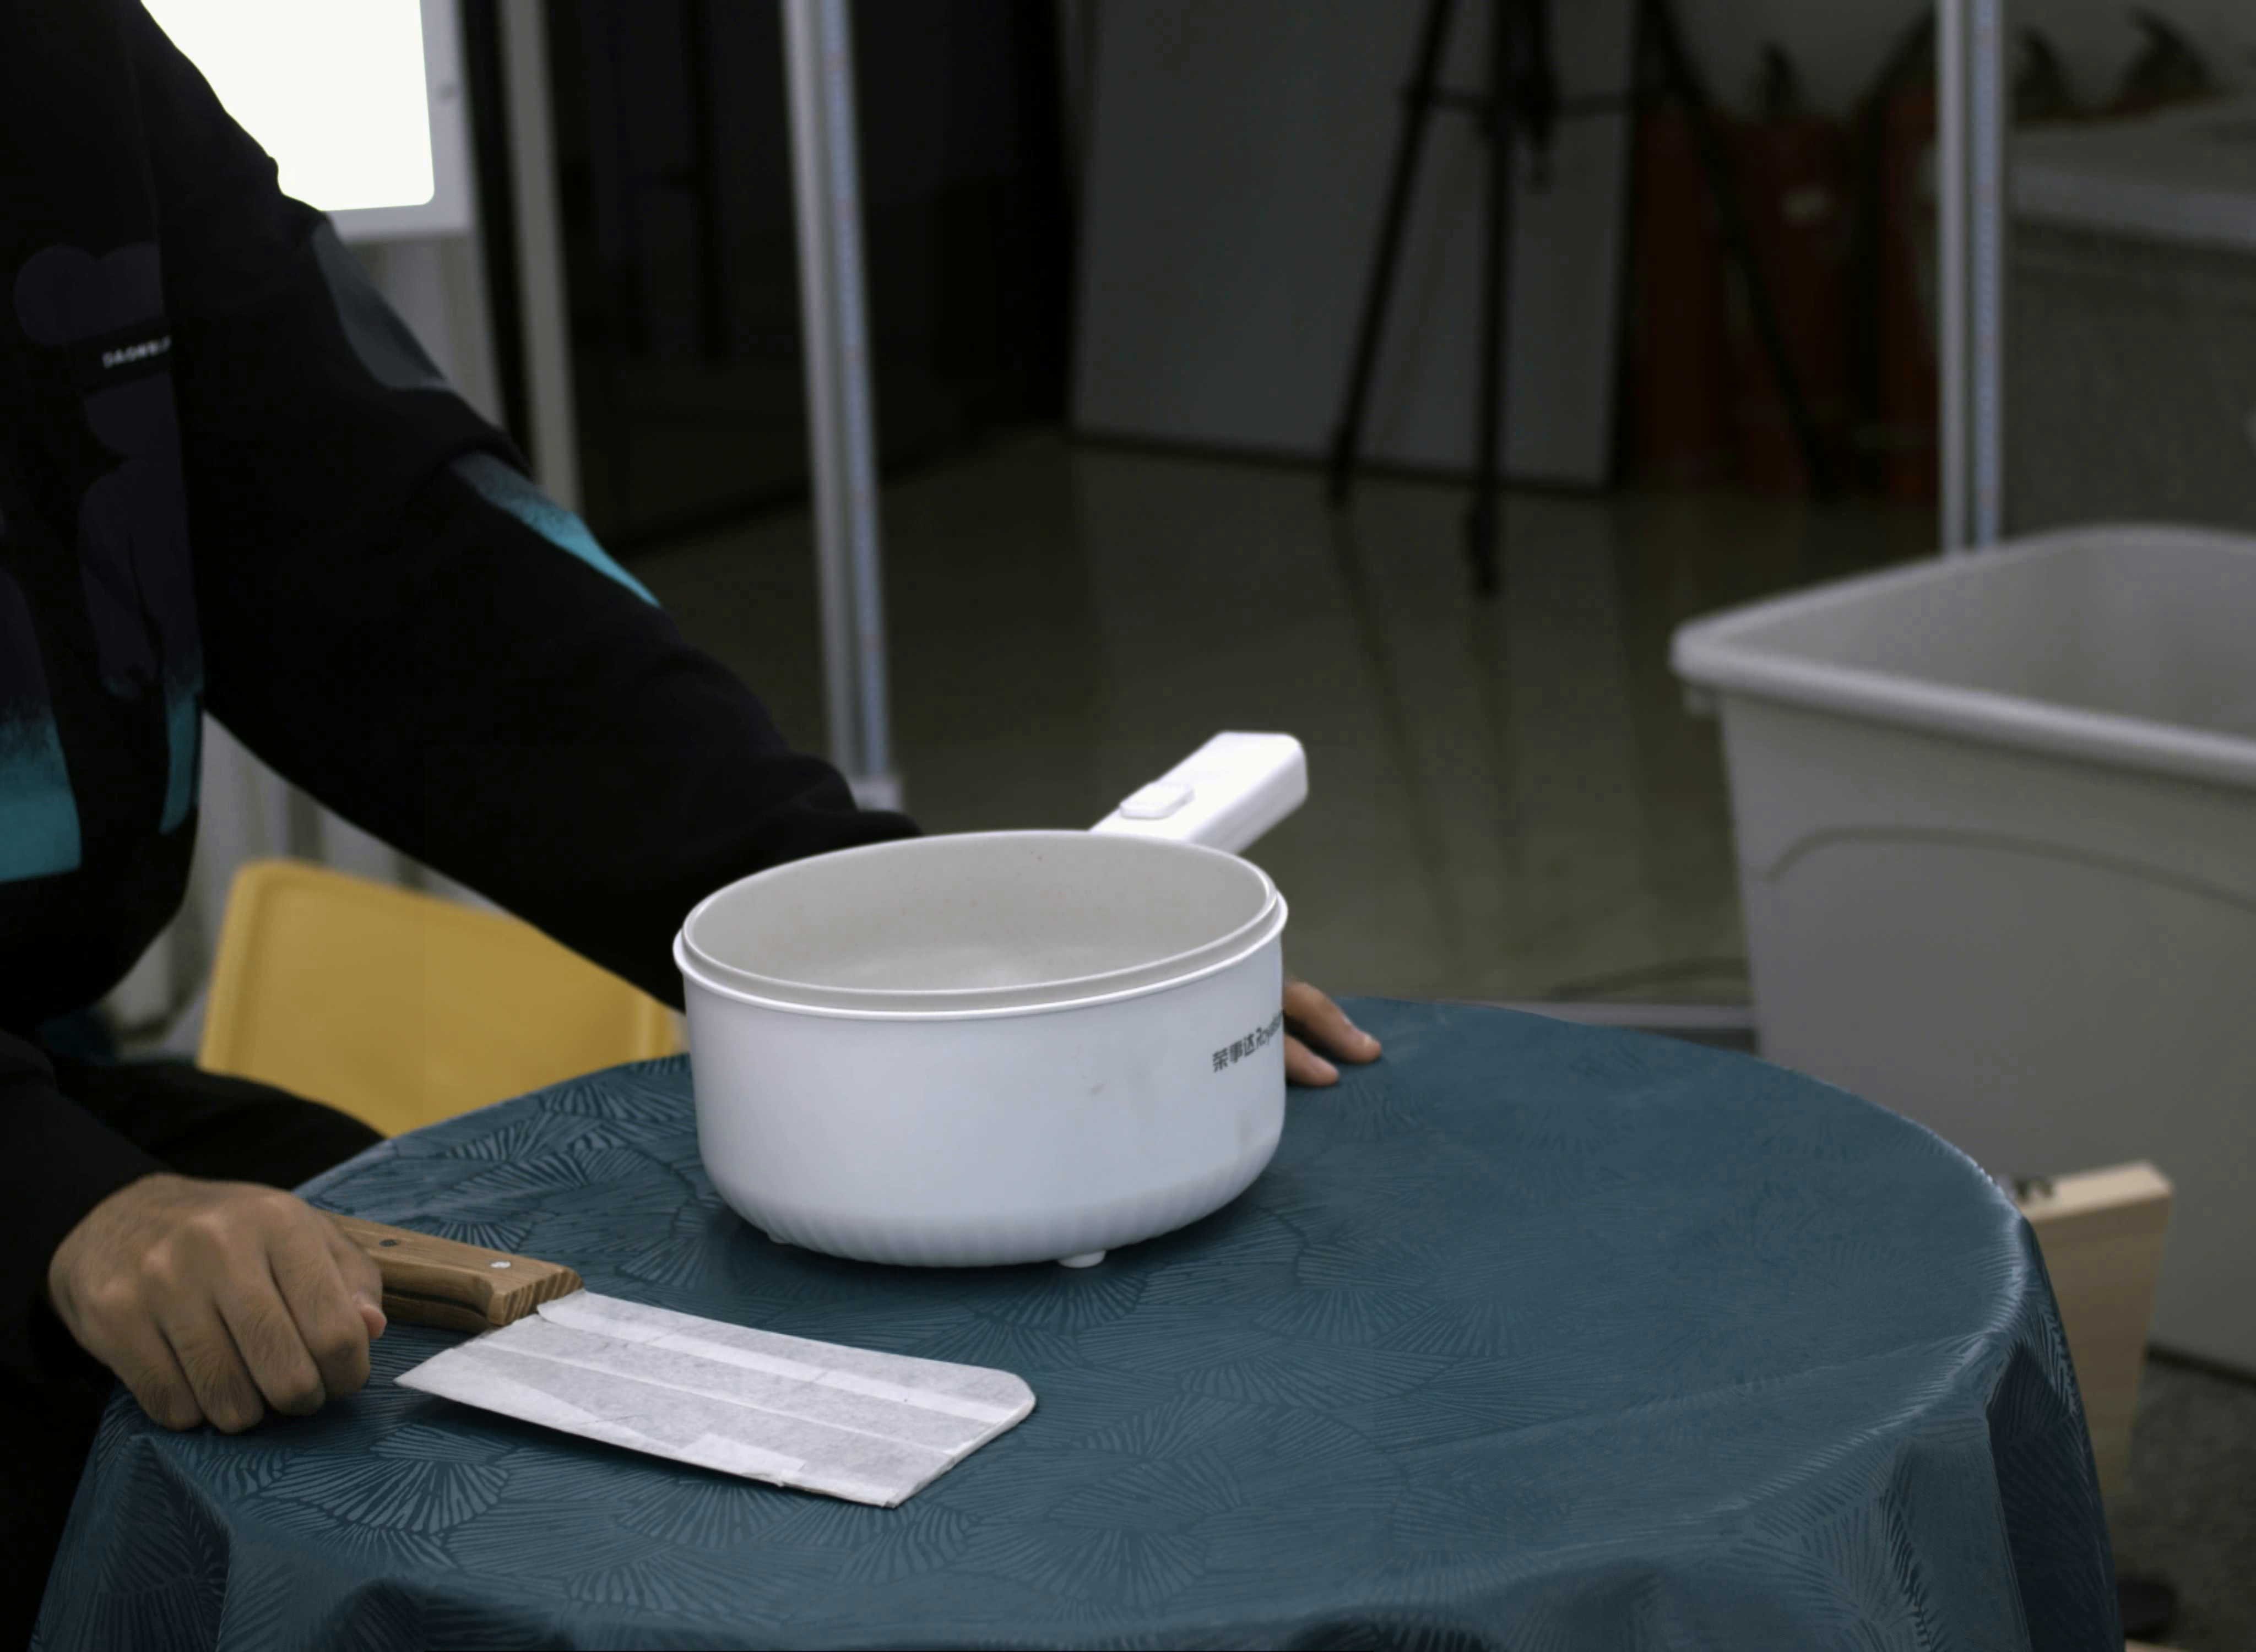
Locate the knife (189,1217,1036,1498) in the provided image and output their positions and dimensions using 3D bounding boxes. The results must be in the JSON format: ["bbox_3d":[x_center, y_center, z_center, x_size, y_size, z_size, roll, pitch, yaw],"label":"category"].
[{"bbox_3d":[-0.164,0.158,1.633,0.317,0.022,0.112,10,20,37],"label":"knife"}]

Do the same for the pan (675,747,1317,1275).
[{"bbox_3d":[-0.015,0.059,1.827,0.201,0.103,0.350,0,14,23],"label":"pan"}]
